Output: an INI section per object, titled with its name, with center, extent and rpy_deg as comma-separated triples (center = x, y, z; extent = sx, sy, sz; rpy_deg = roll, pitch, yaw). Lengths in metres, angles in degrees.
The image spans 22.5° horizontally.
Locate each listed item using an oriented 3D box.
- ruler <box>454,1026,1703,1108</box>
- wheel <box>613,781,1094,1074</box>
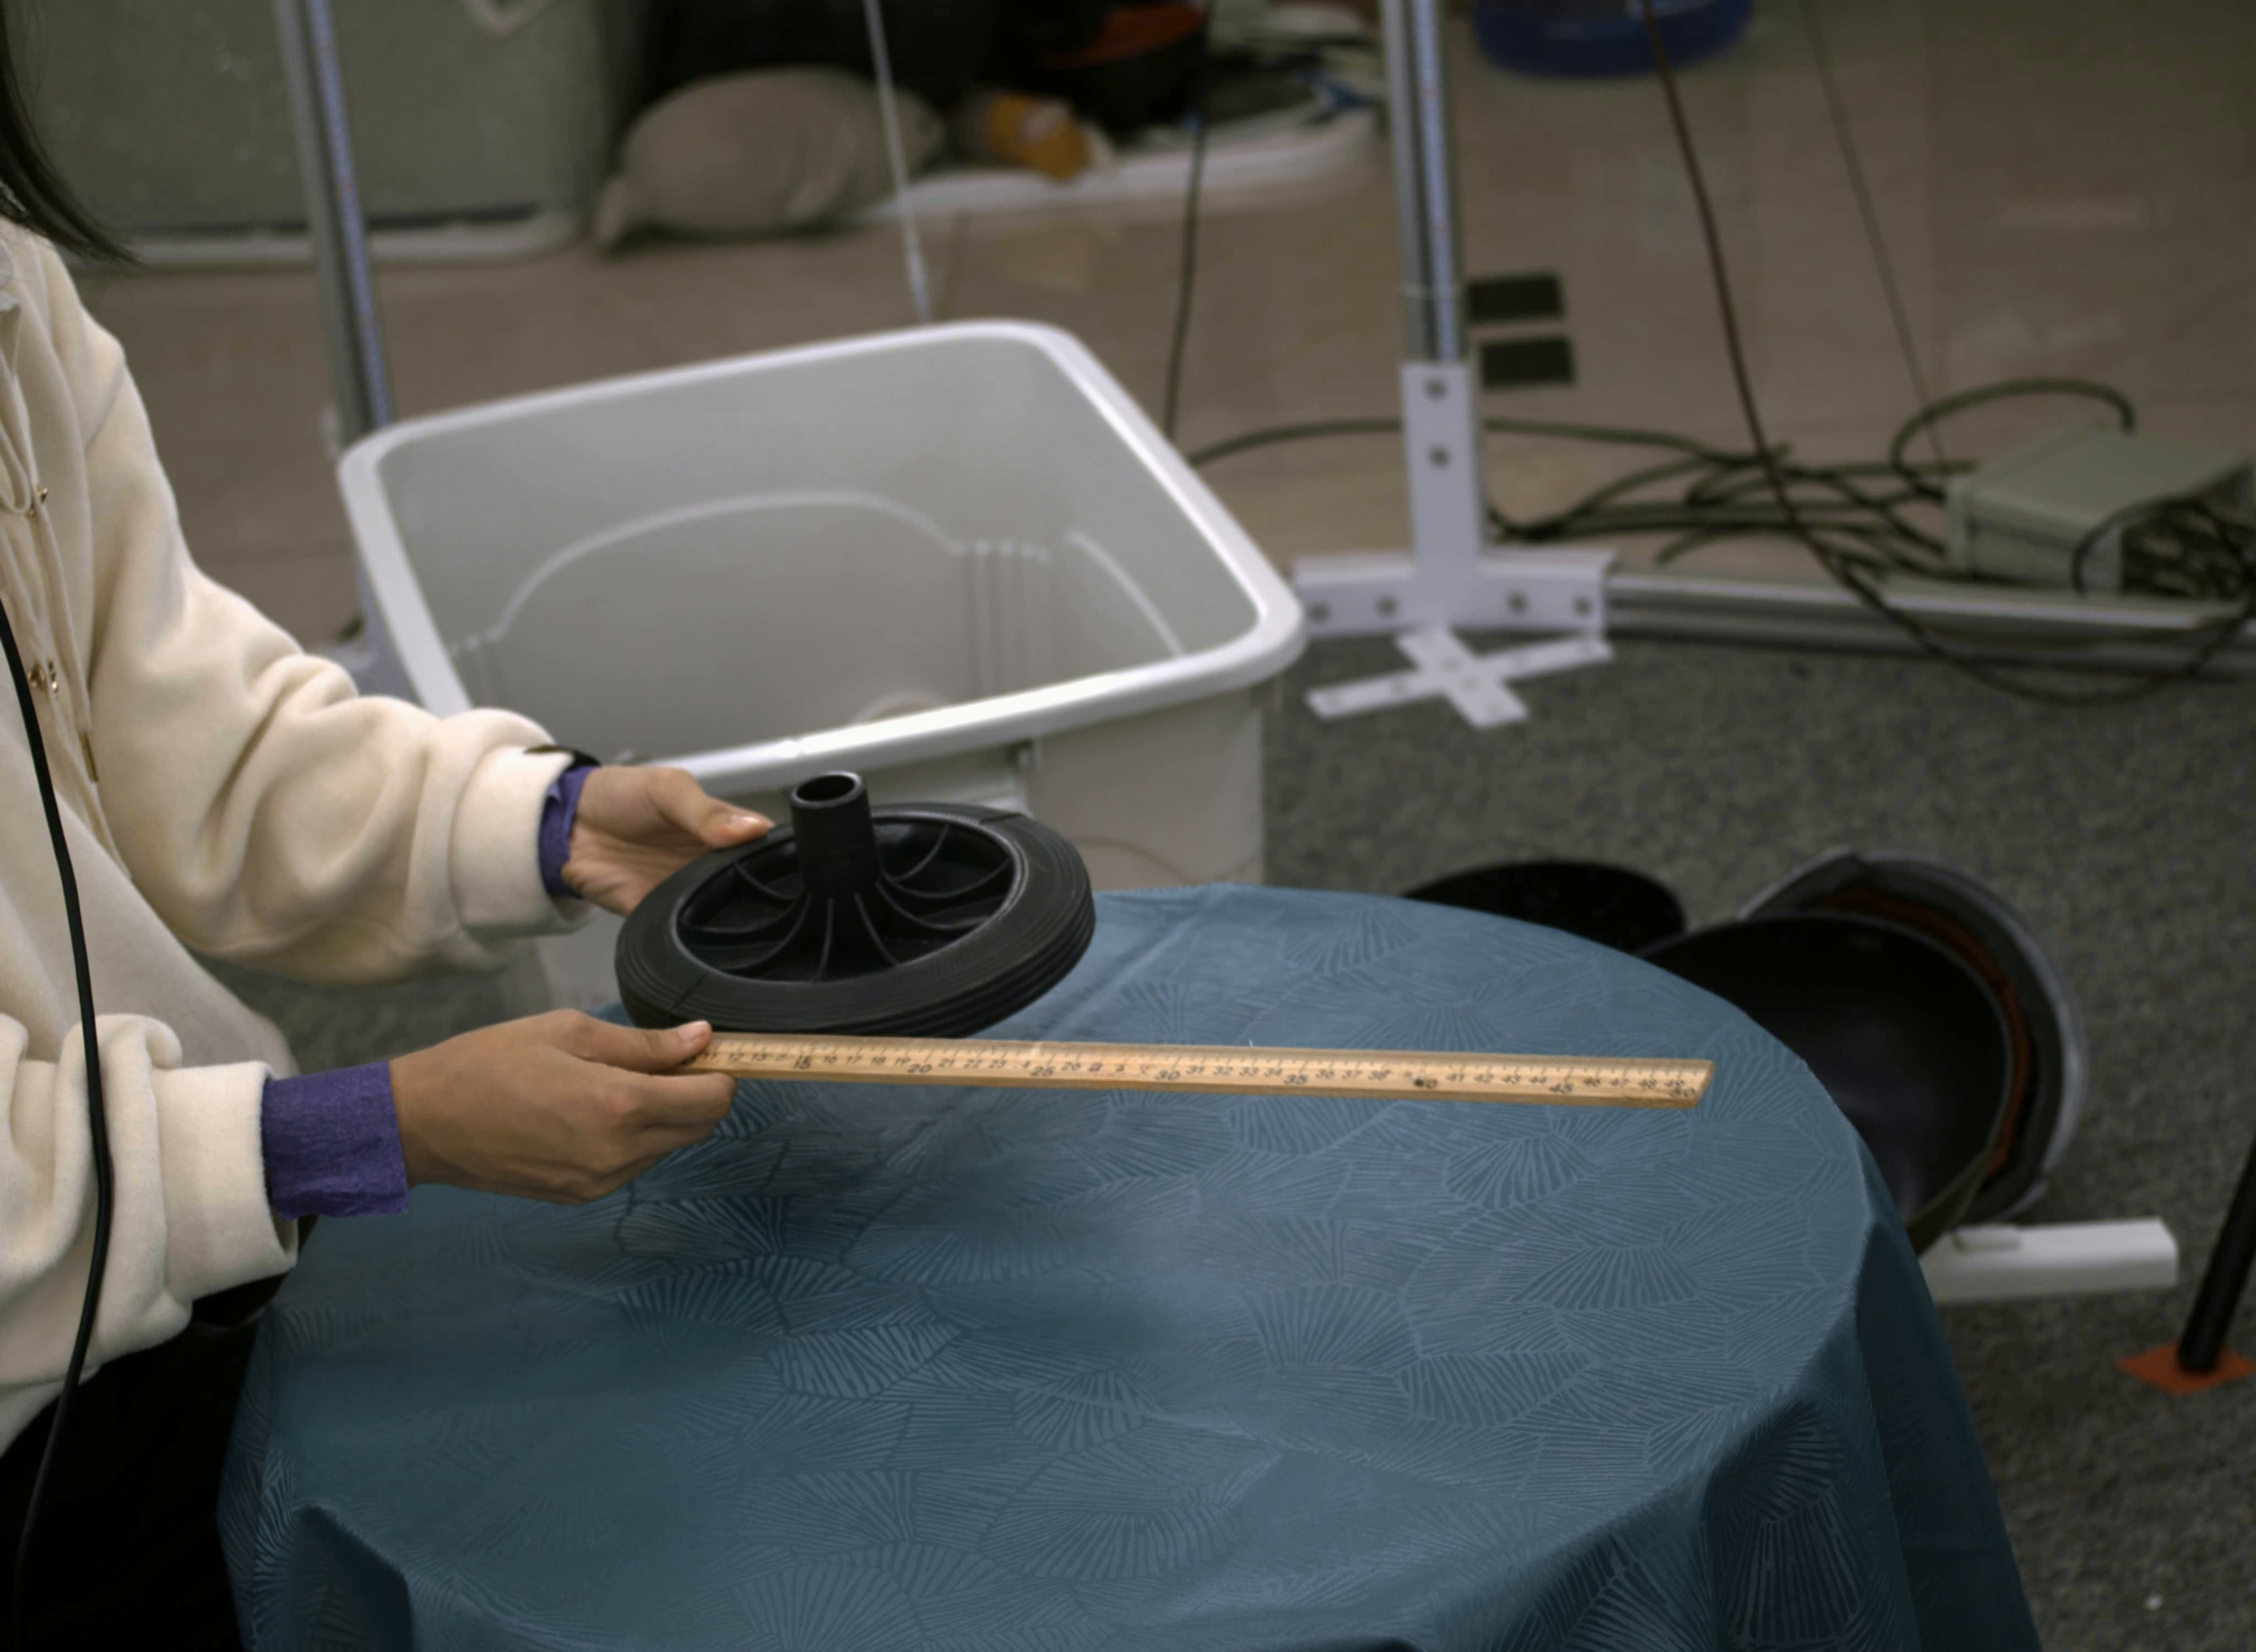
[ruler]
center = -0.030, 0.086, 2.053
extent = 0.499, 0.006, 0.026
rpy_deg = 1, 33, 26
[wheel]
center = -0.110, 0.024, 2.188
extent = 0.187, 0.080, 0.187
rpy_deg = -11, 26, -3
